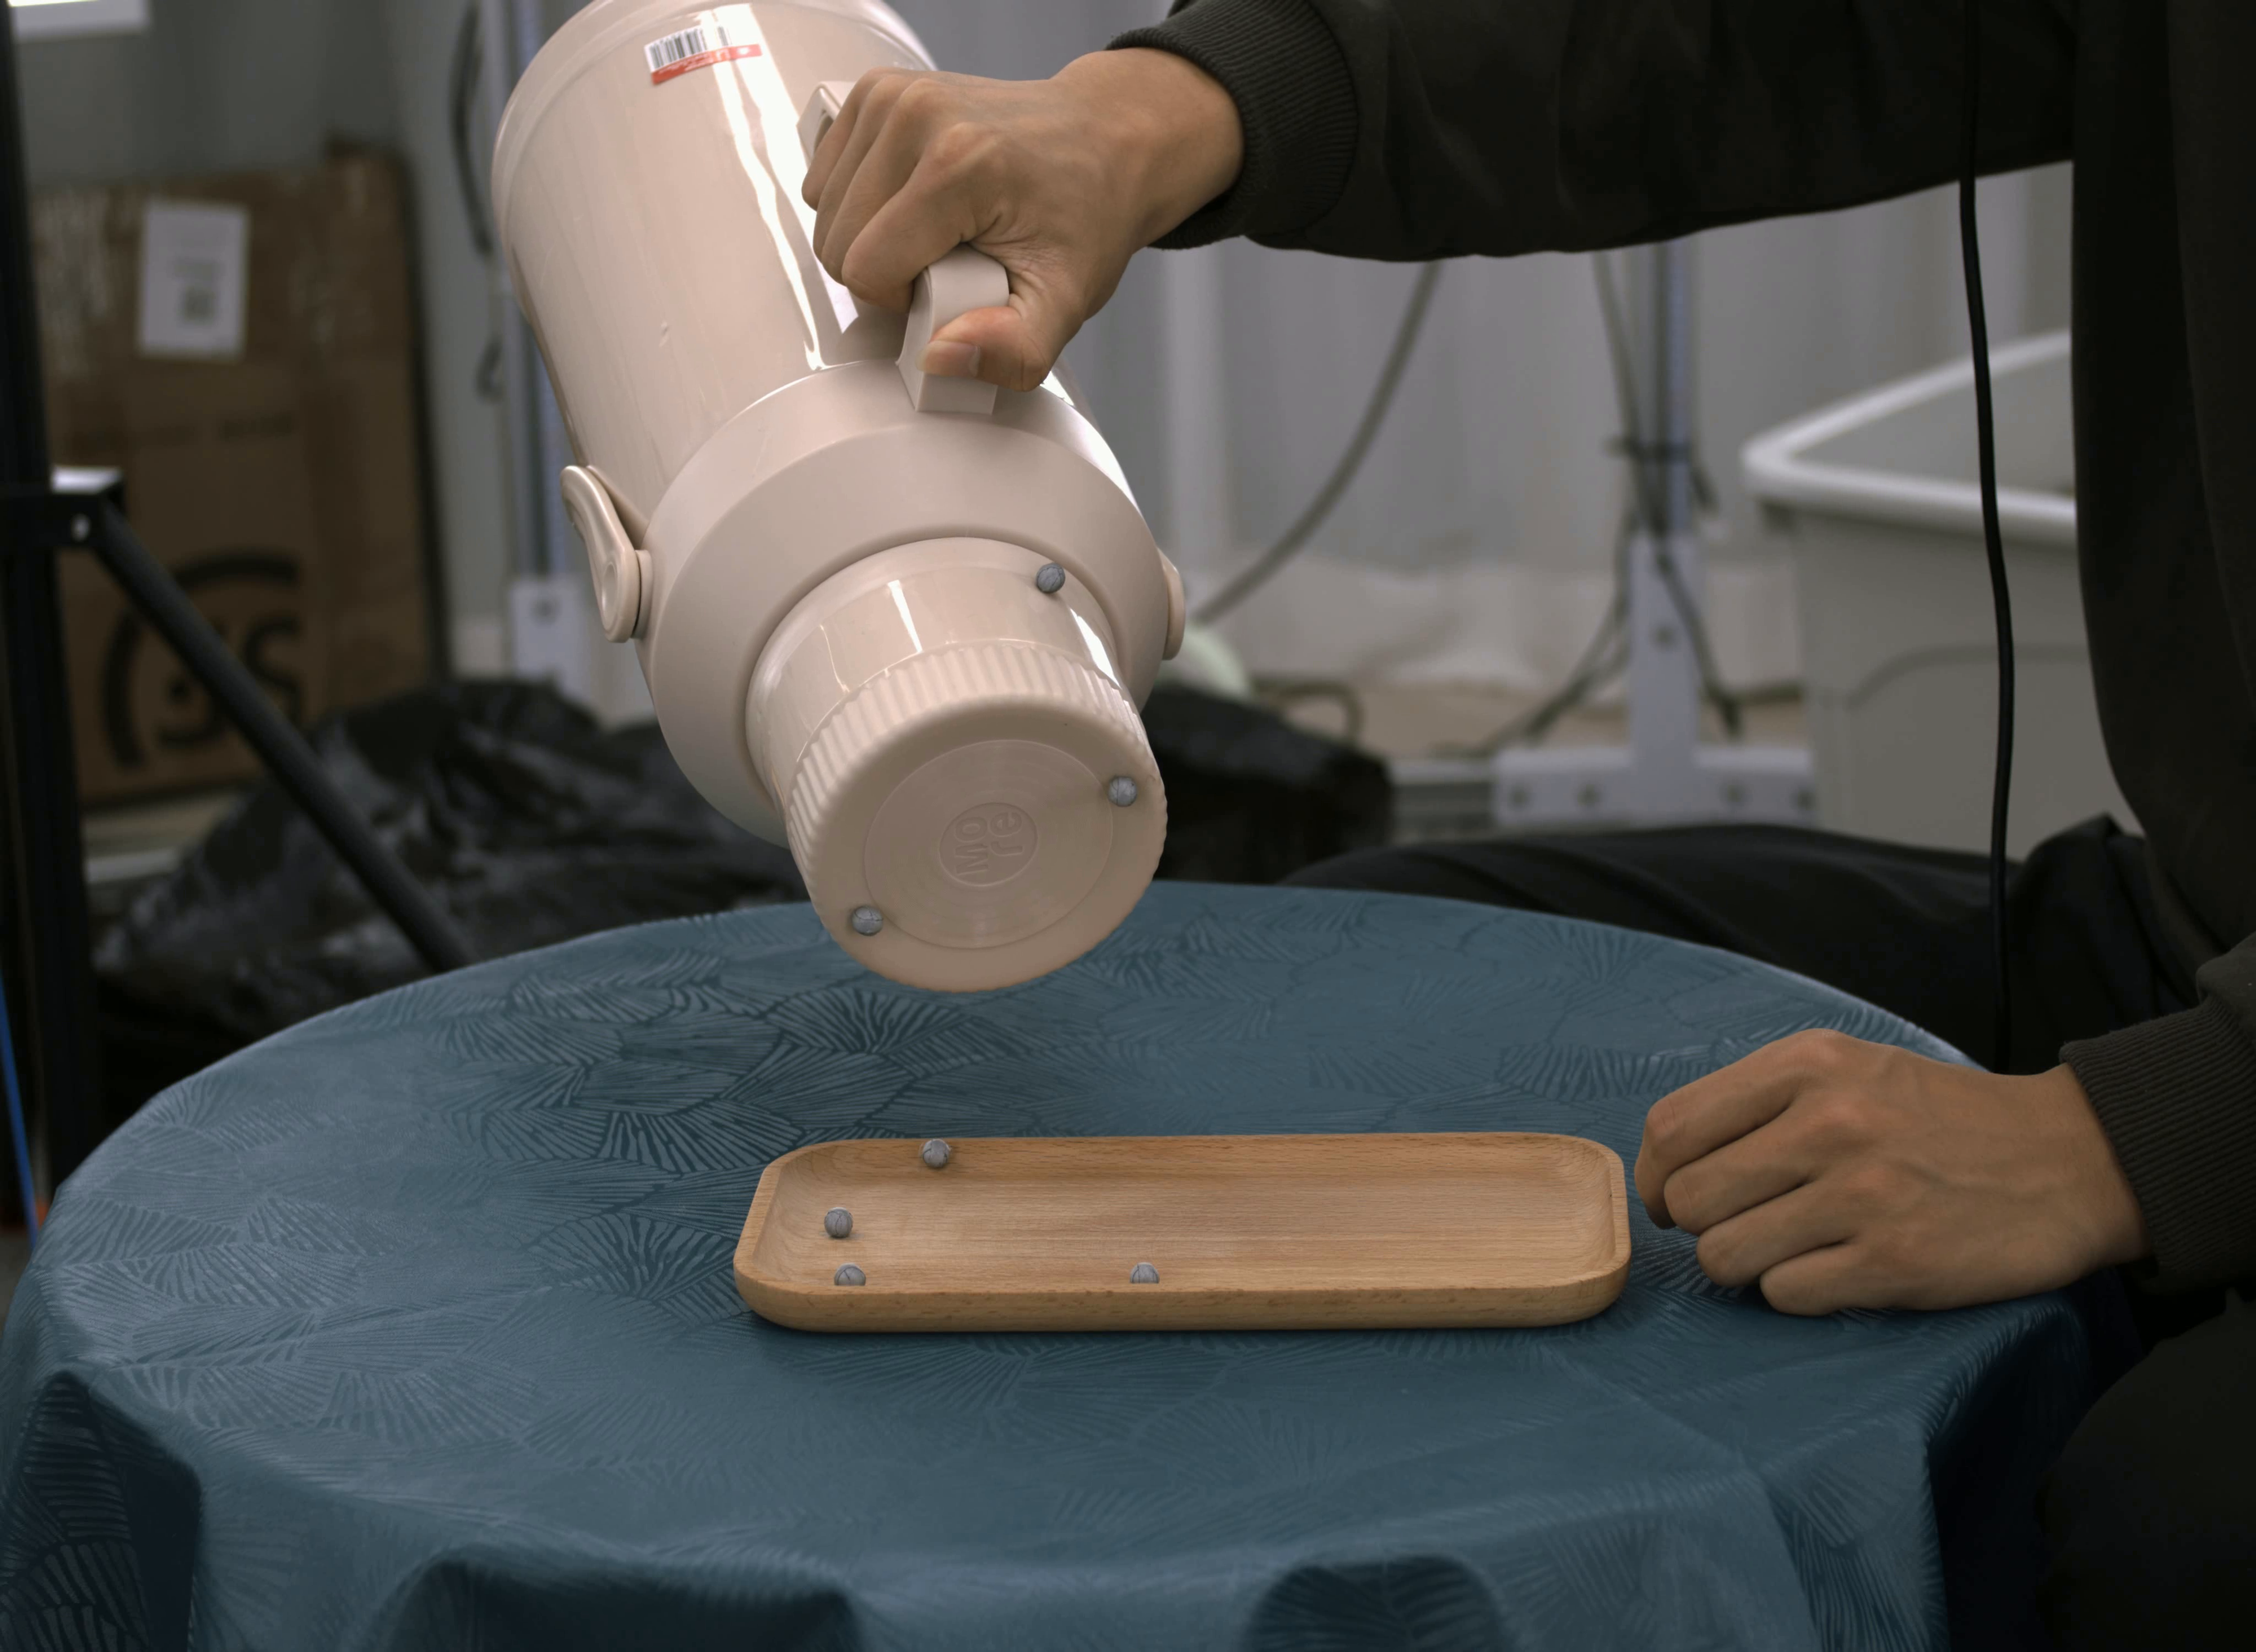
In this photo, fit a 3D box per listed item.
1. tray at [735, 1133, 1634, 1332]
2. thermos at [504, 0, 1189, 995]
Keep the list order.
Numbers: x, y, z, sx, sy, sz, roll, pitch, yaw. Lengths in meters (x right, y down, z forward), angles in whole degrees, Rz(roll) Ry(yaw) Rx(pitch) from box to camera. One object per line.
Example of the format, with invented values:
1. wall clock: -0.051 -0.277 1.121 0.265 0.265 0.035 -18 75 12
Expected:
1. tray: 0.017 0.115 1.503 0.251 0.023 0.130 0 18 6
2. thermos: -0.082 -0.119 1.643 0.172 0.207 0.413 1 33 -16
